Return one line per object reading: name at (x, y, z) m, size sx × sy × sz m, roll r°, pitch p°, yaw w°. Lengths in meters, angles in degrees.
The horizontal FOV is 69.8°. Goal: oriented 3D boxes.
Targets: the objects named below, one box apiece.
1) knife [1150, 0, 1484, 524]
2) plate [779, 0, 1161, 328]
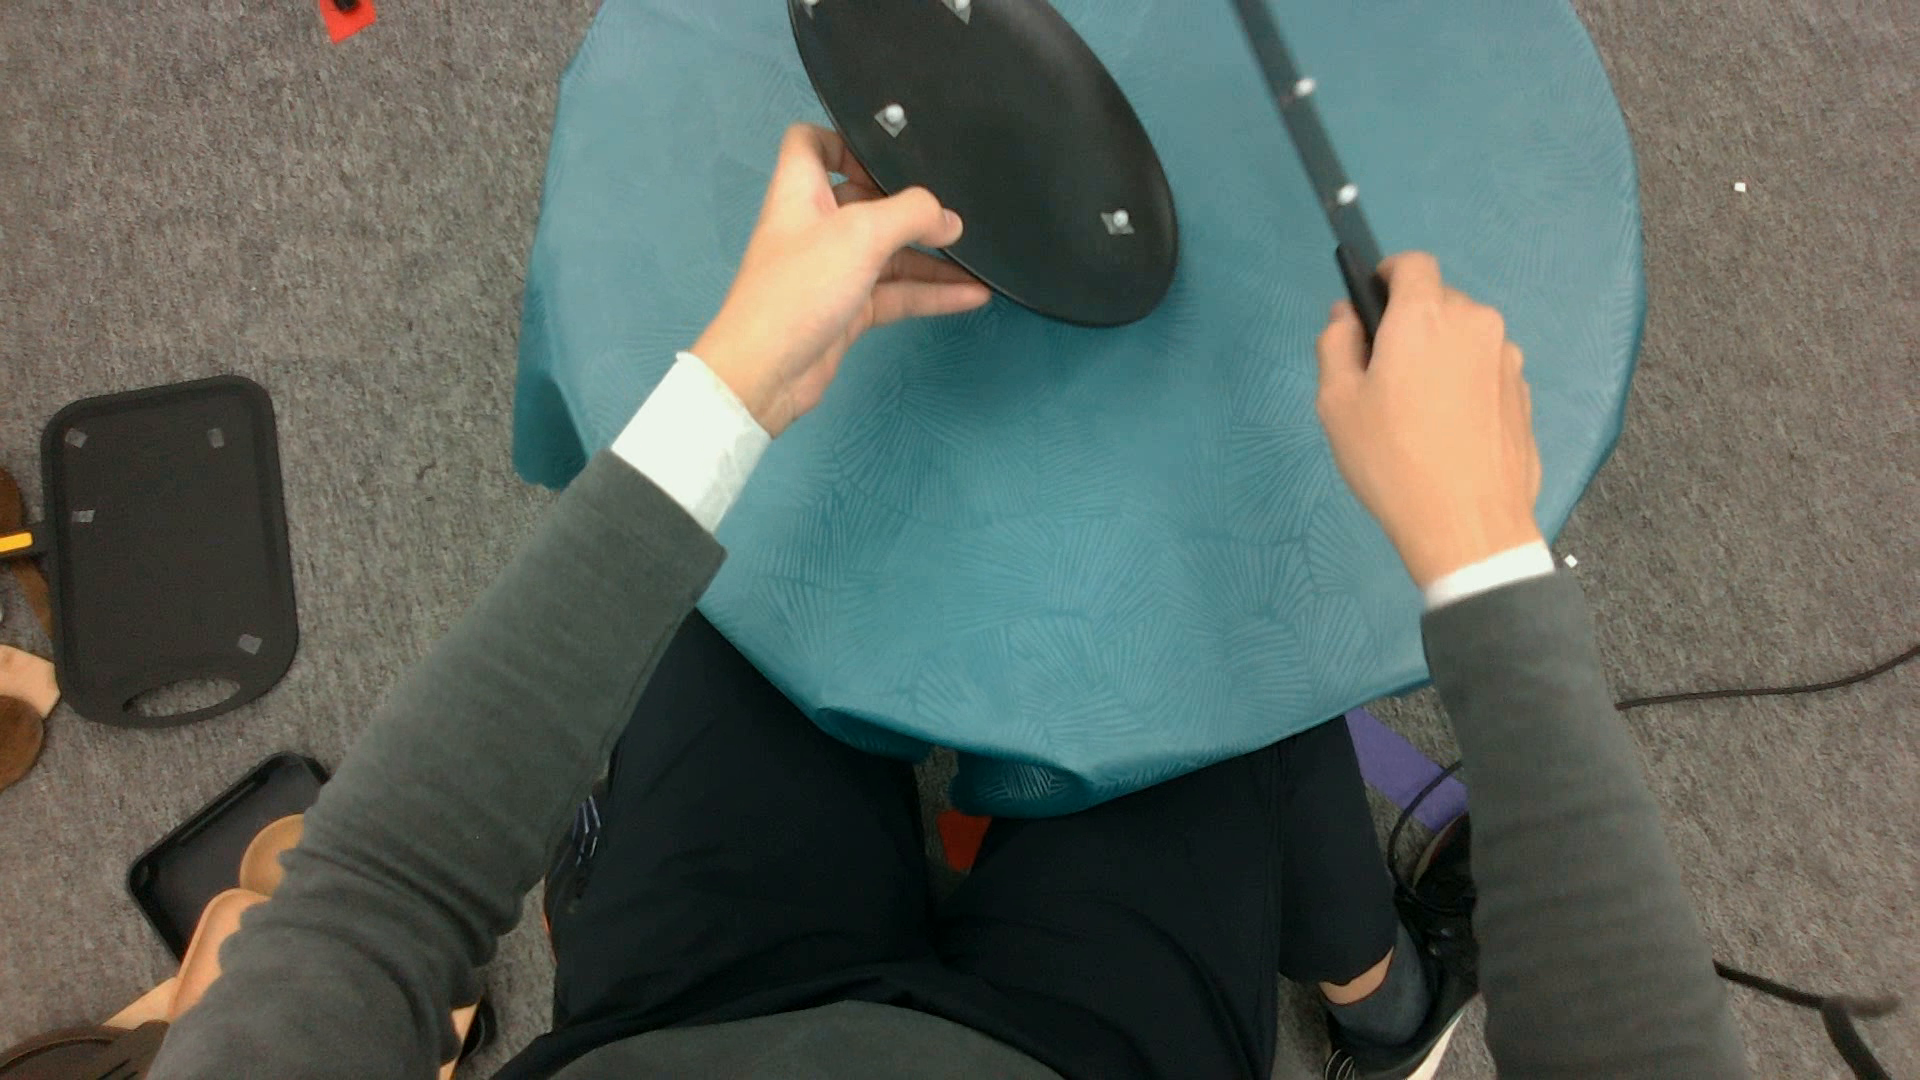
knife at (0.156, -0.142, 0.625) m, size 0.021 × 0.081 × 0.303 m, roll -34°, pitch 72°, yaw 31°
plate at (0.008, -0.203, 0.674) m, size 0.023 × 0.245 × 0.244 m, roll -35°, pitch 76°, yaw 38°
